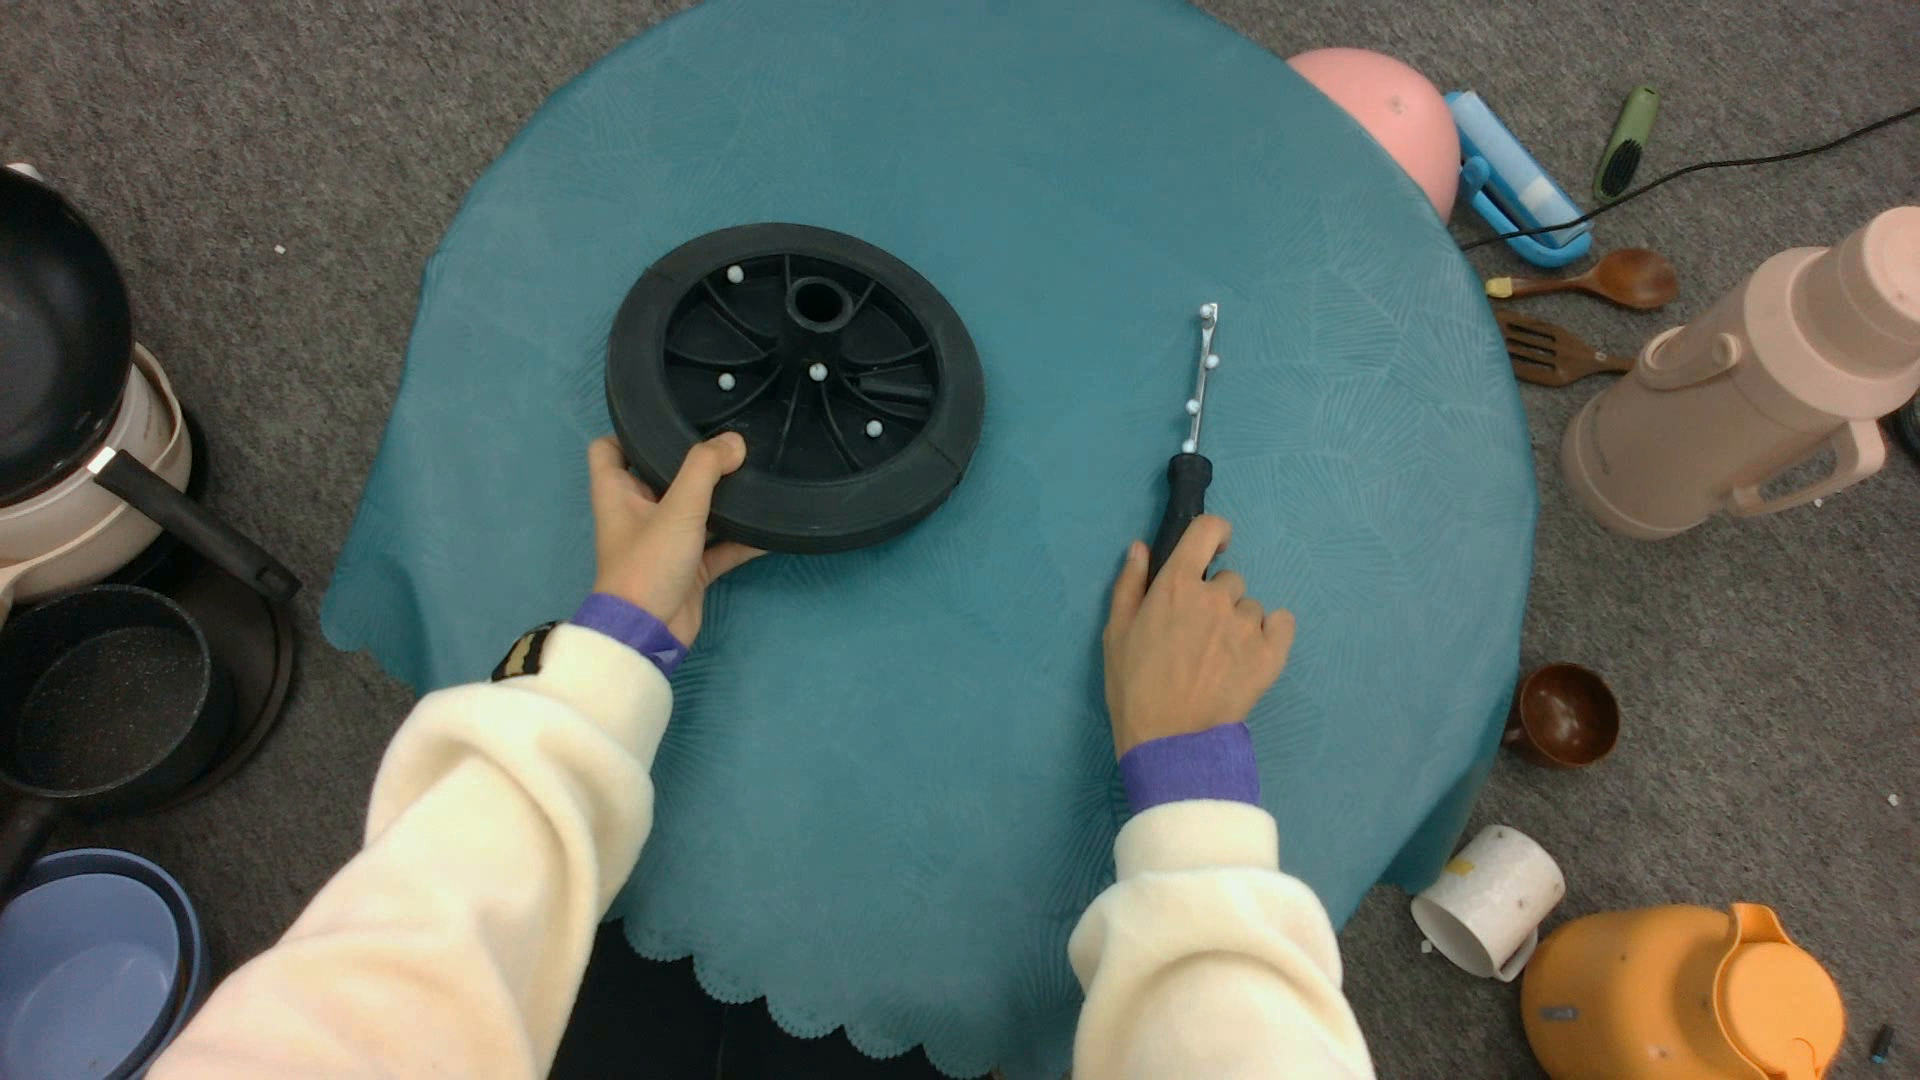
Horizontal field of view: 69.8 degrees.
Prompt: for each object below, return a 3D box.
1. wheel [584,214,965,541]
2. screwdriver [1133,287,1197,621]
[{"bbox_3d":[-0.084,-0.096,0.671,0.190,0.079,0.188,-16,67,-25],"label":"wheel"},{"bbox_3d":[0.116,-0.050,0.720,0.031,0.031,0.198,14,66,-3],"label":"screwdriver"}]
